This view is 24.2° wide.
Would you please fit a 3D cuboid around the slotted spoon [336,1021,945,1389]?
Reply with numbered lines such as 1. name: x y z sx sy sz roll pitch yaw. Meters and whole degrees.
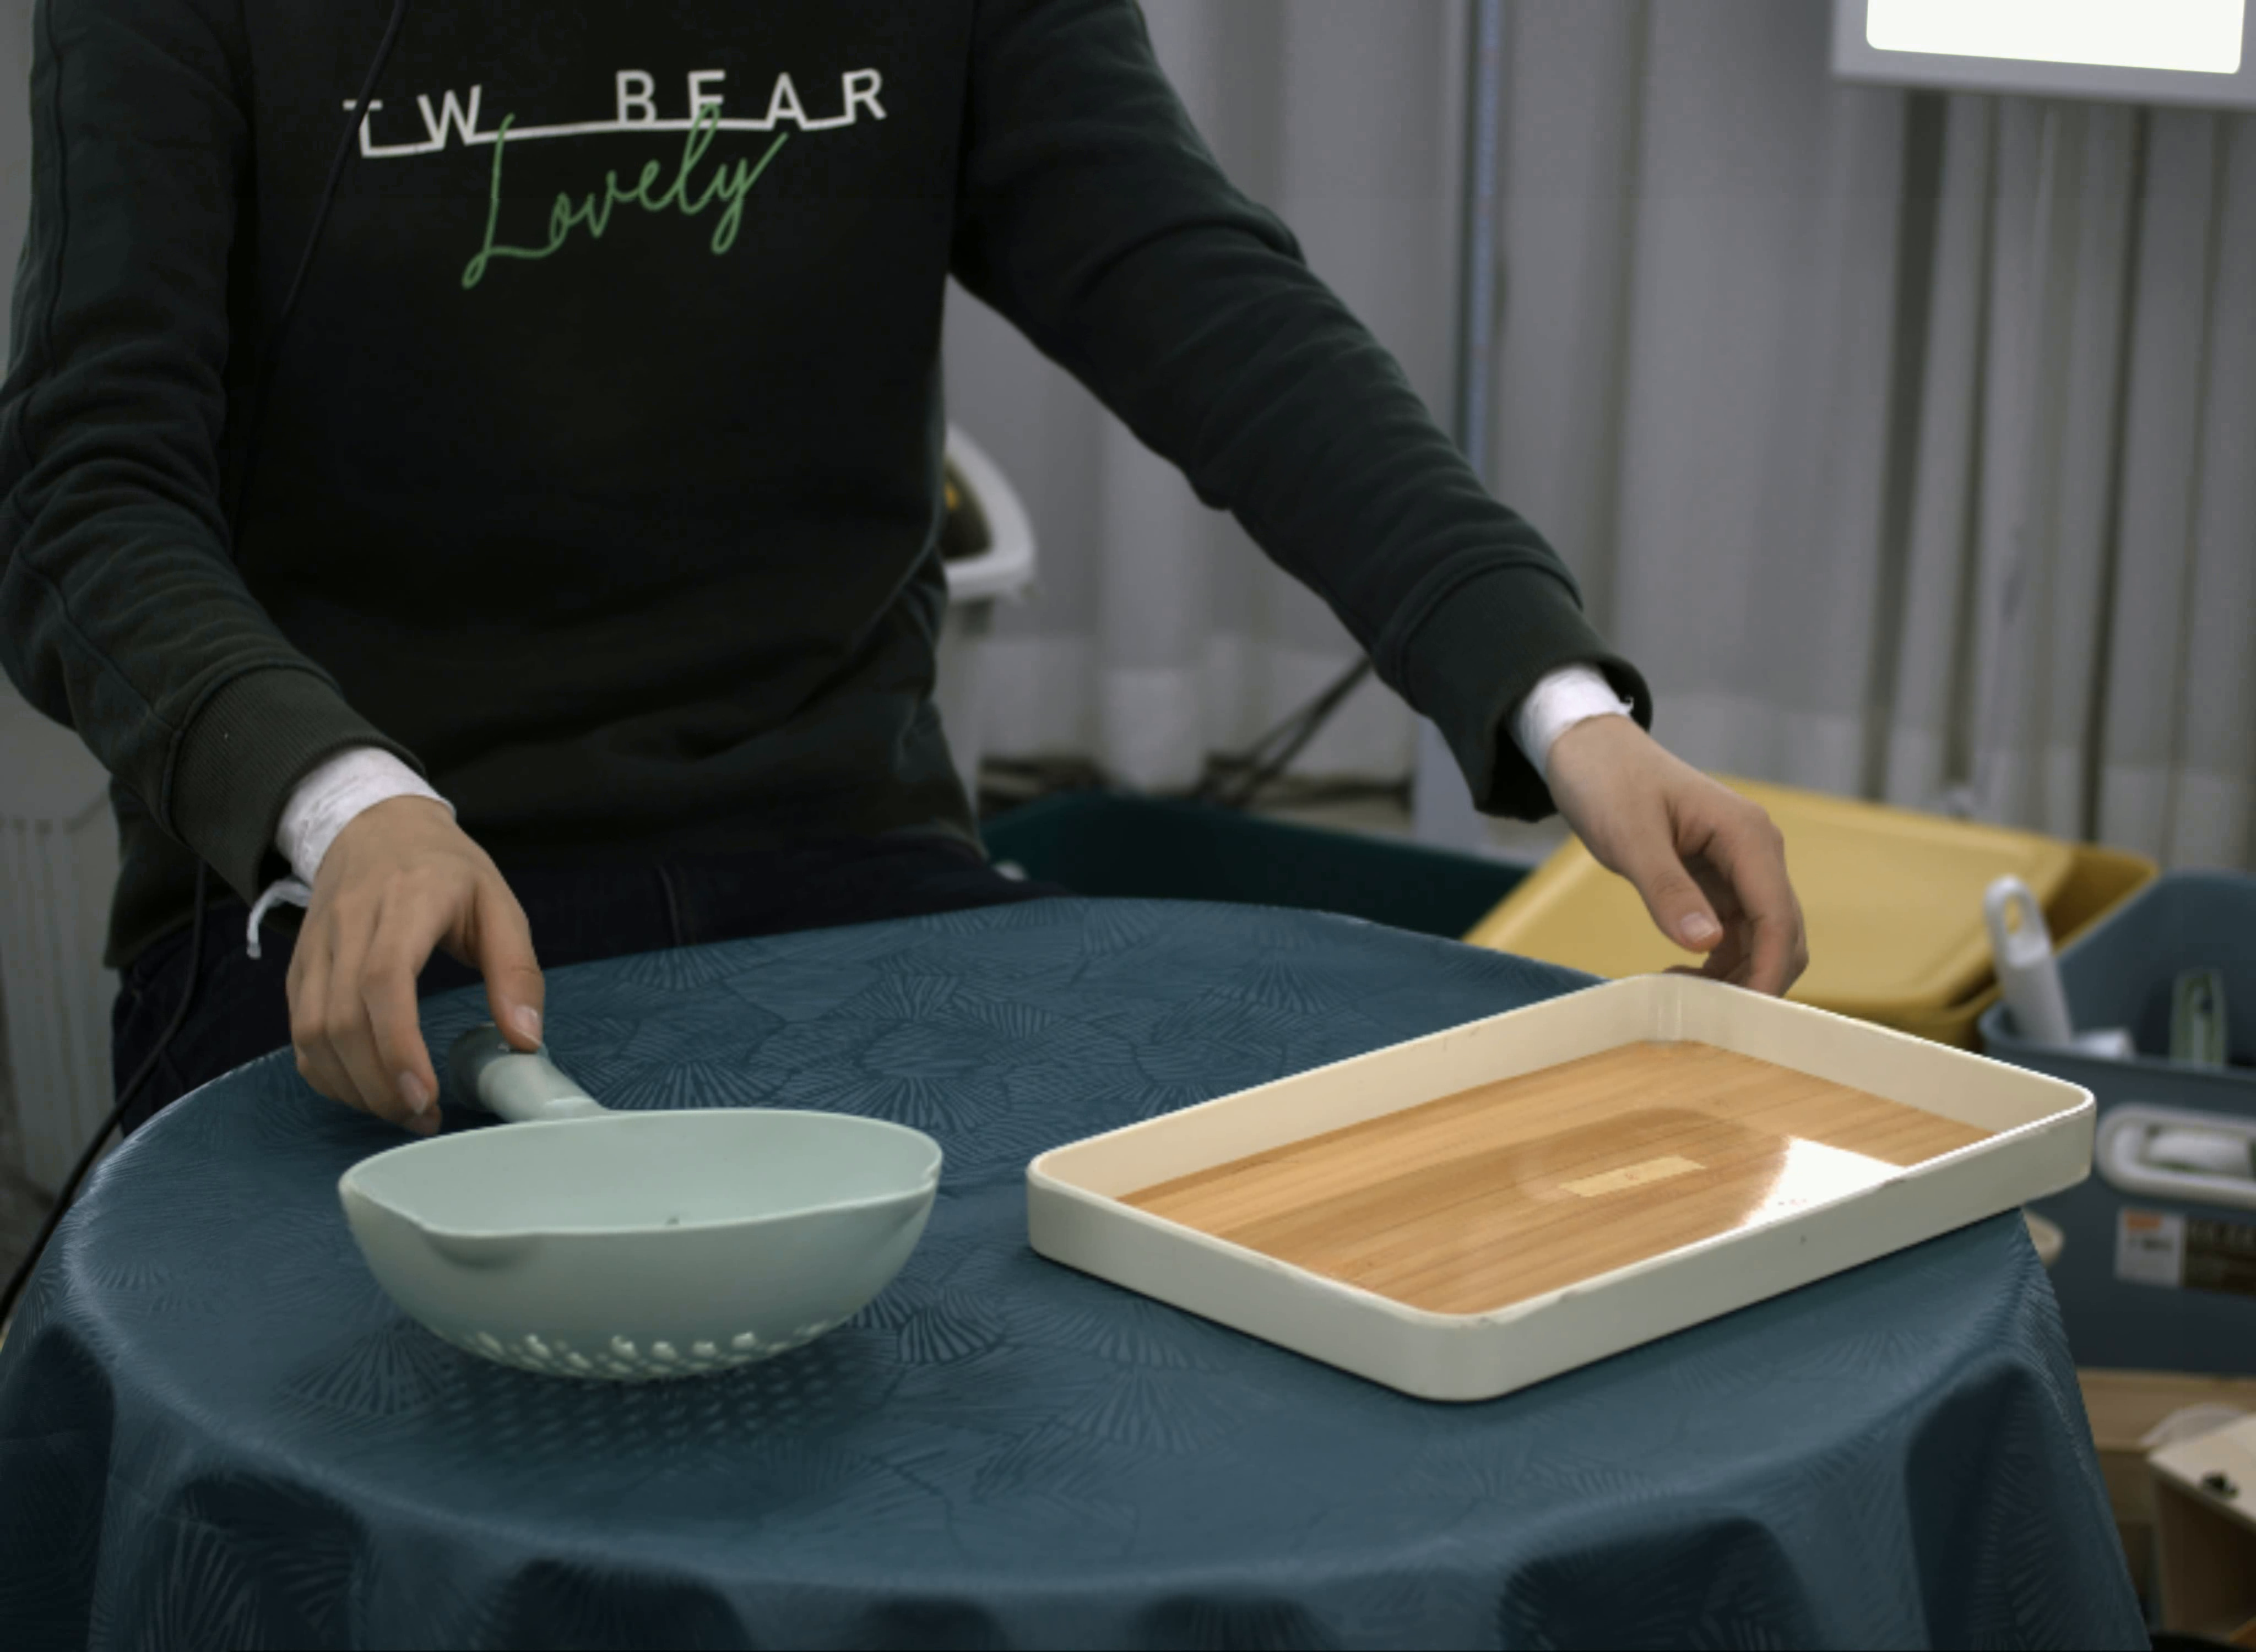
1. slotted spoon: -0.162 0.096 1.560 0.169 0.076 0.355 -4 17 -16

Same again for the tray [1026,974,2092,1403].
1. tray: 0.135 0.105 1.610 0.302 0.027 0.189 -13 21 -42
